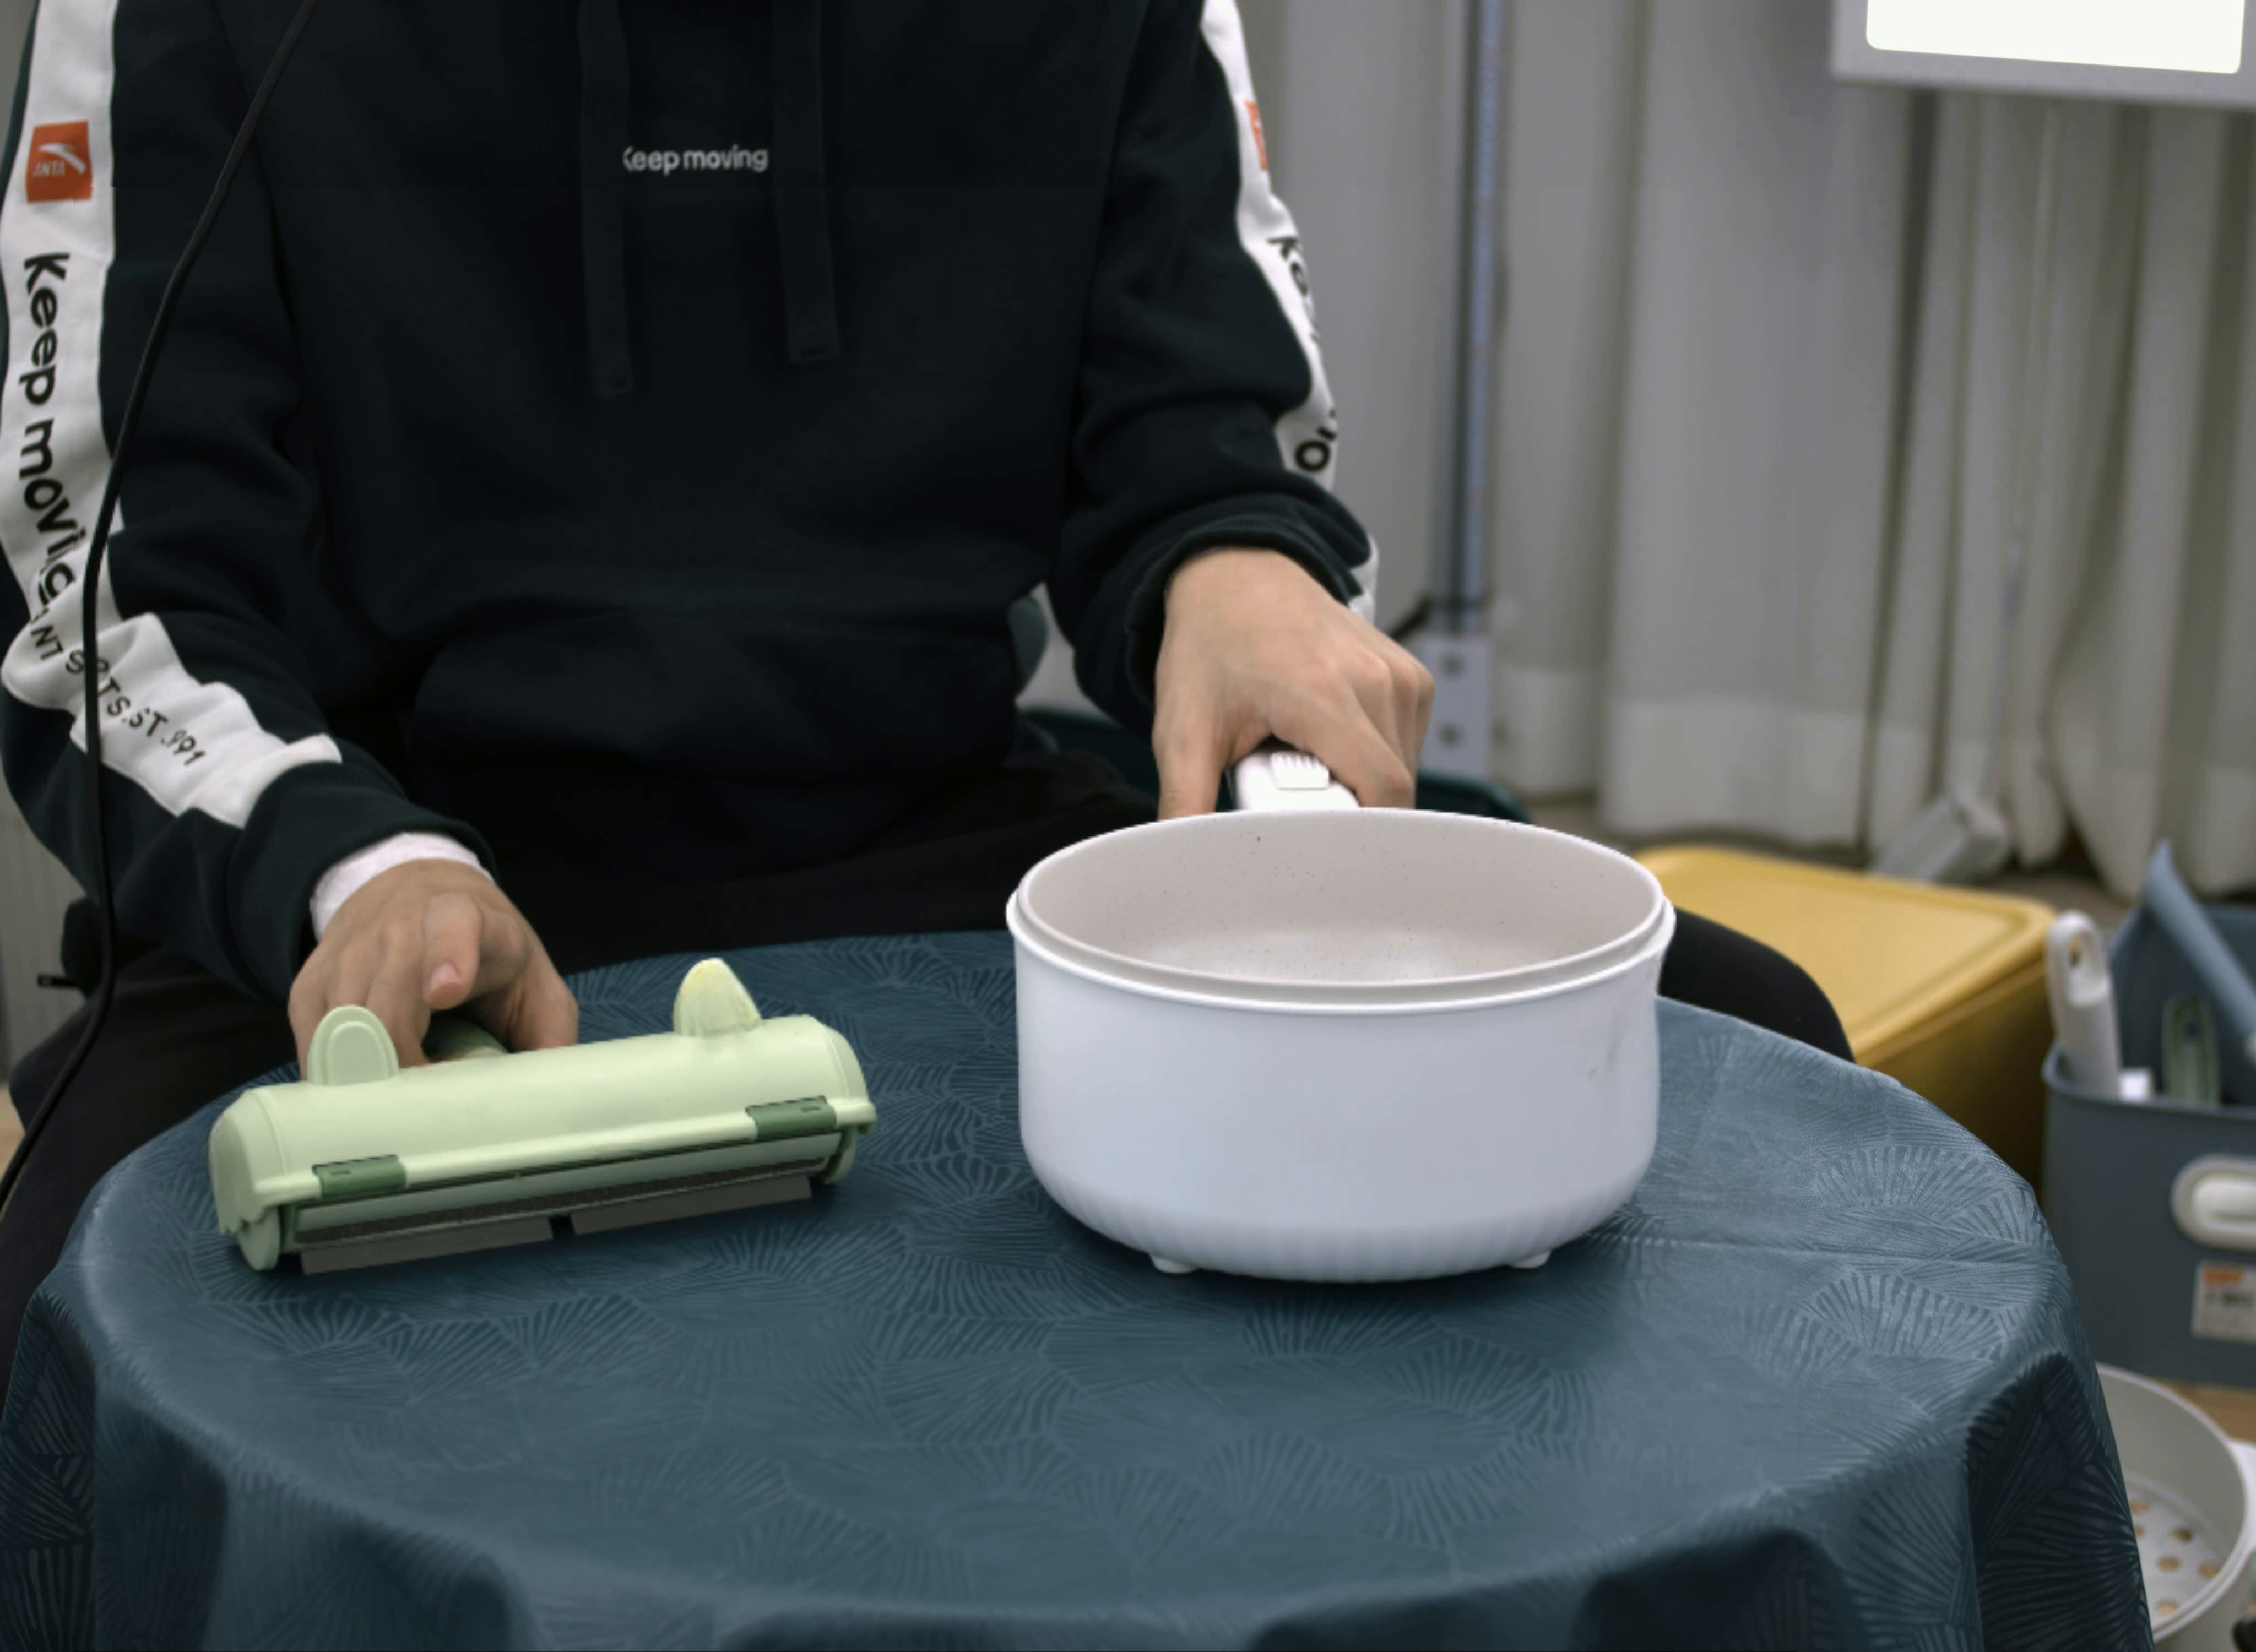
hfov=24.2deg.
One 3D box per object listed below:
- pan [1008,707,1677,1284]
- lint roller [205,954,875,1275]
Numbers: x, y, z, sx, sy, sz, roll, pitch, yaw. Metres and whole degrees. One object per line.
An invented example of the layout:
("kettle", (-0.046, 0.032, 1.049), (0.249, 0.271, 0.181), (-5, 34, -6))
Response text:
("pan", (0.062, 0.049, 1.666), (0.201, 0.103, 0.353), (-1, 15, -2))
("lint roller", (-0.199, 0.069, 1.625), (0.199, 0.083, 0.181), (-7, 23, -24))
